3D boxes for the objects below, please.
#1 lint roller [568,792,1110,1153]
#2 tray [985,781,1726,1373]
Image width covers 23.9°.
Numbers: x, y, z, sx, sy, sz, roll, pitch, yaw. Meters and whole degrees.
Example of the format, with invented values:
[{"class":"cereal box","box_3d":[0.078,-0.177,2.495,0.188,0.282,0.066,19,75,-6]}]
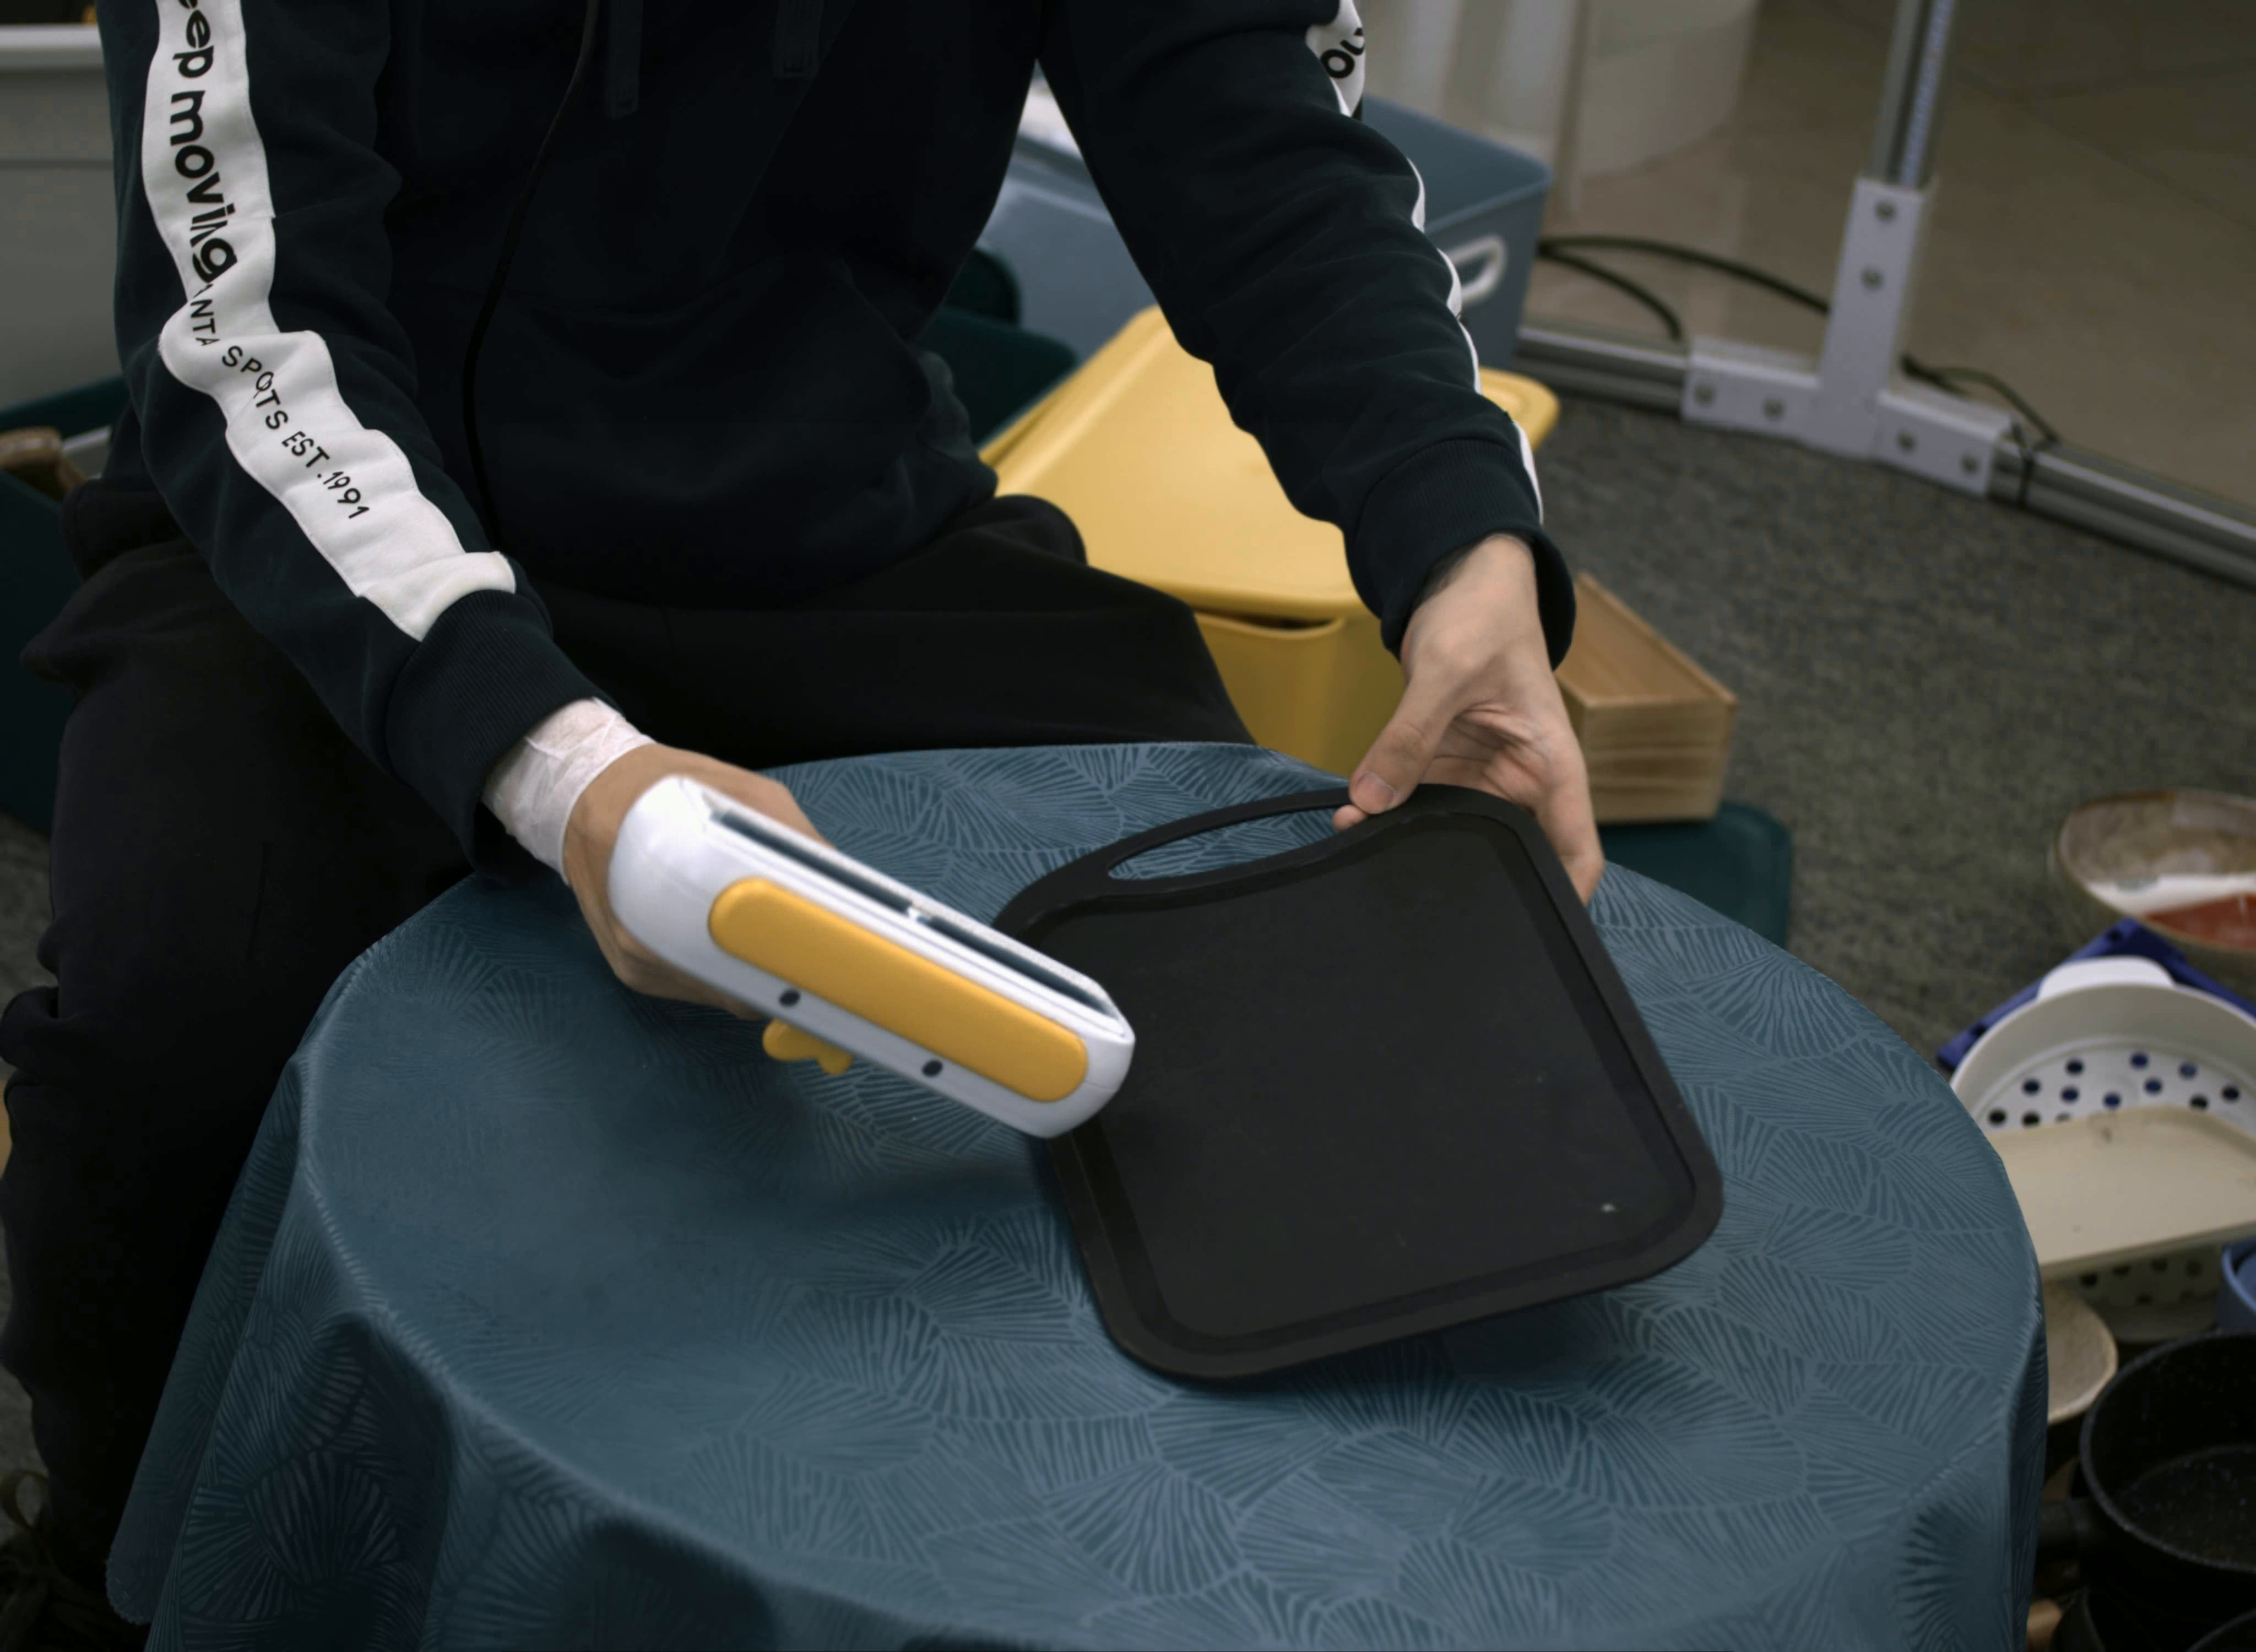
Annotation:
[{"class":"lint roller","box_3d":[-0.118,0.053,1.801,0.191,0.074,0.193,24,-7,-20]},{"class":"tray","box_3d":[0.068,0.075,1.827,0.210,0.010,0.328,-14,33,-4]}]
